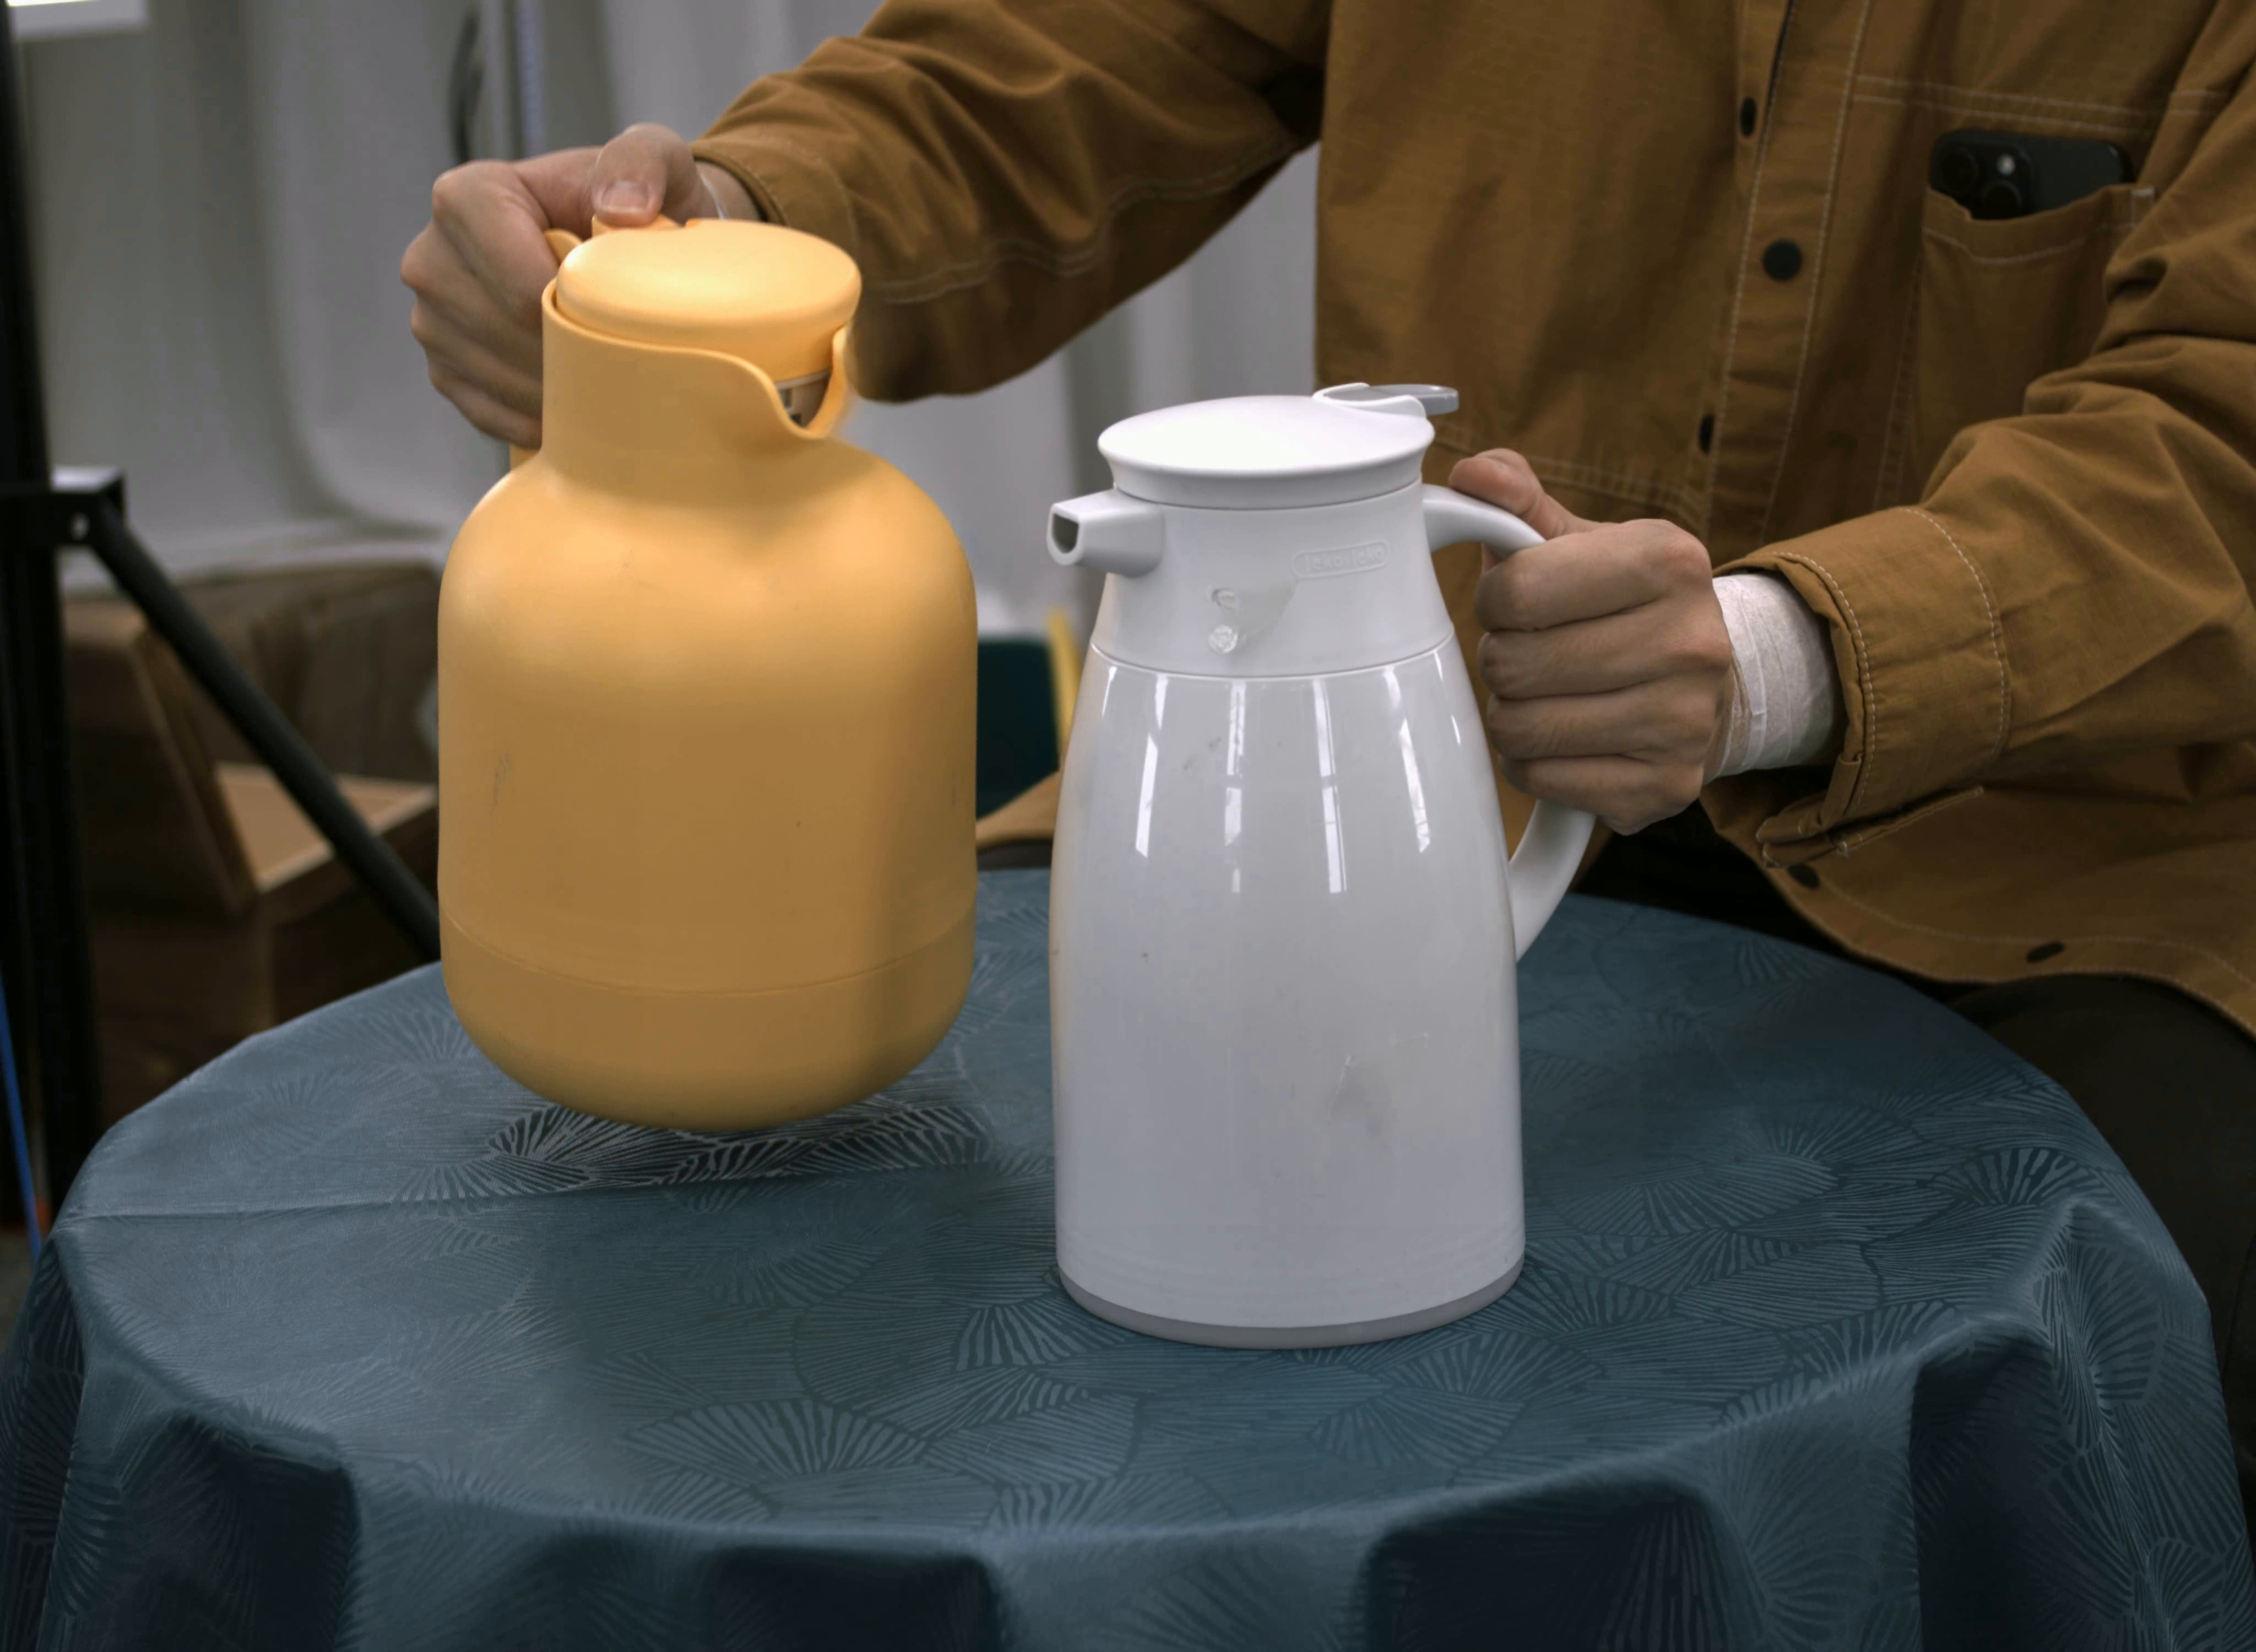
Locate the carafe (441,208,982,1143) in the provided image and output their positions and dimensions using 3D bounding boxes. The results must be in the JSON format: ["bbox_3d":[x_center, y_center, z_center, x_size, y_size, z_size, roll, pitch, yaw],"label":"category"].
[{"bbox_3d":[-0.131,-0.054,1.604,0.160,0.260,0.207,-8,25,-25],"label":"carafe"}]

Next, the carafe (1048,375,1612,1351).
[{"bbox_3d":[0.058,0.002,1.467,0.164,0.248,0.135,-9,16,-25],"label":"carafe"}]
